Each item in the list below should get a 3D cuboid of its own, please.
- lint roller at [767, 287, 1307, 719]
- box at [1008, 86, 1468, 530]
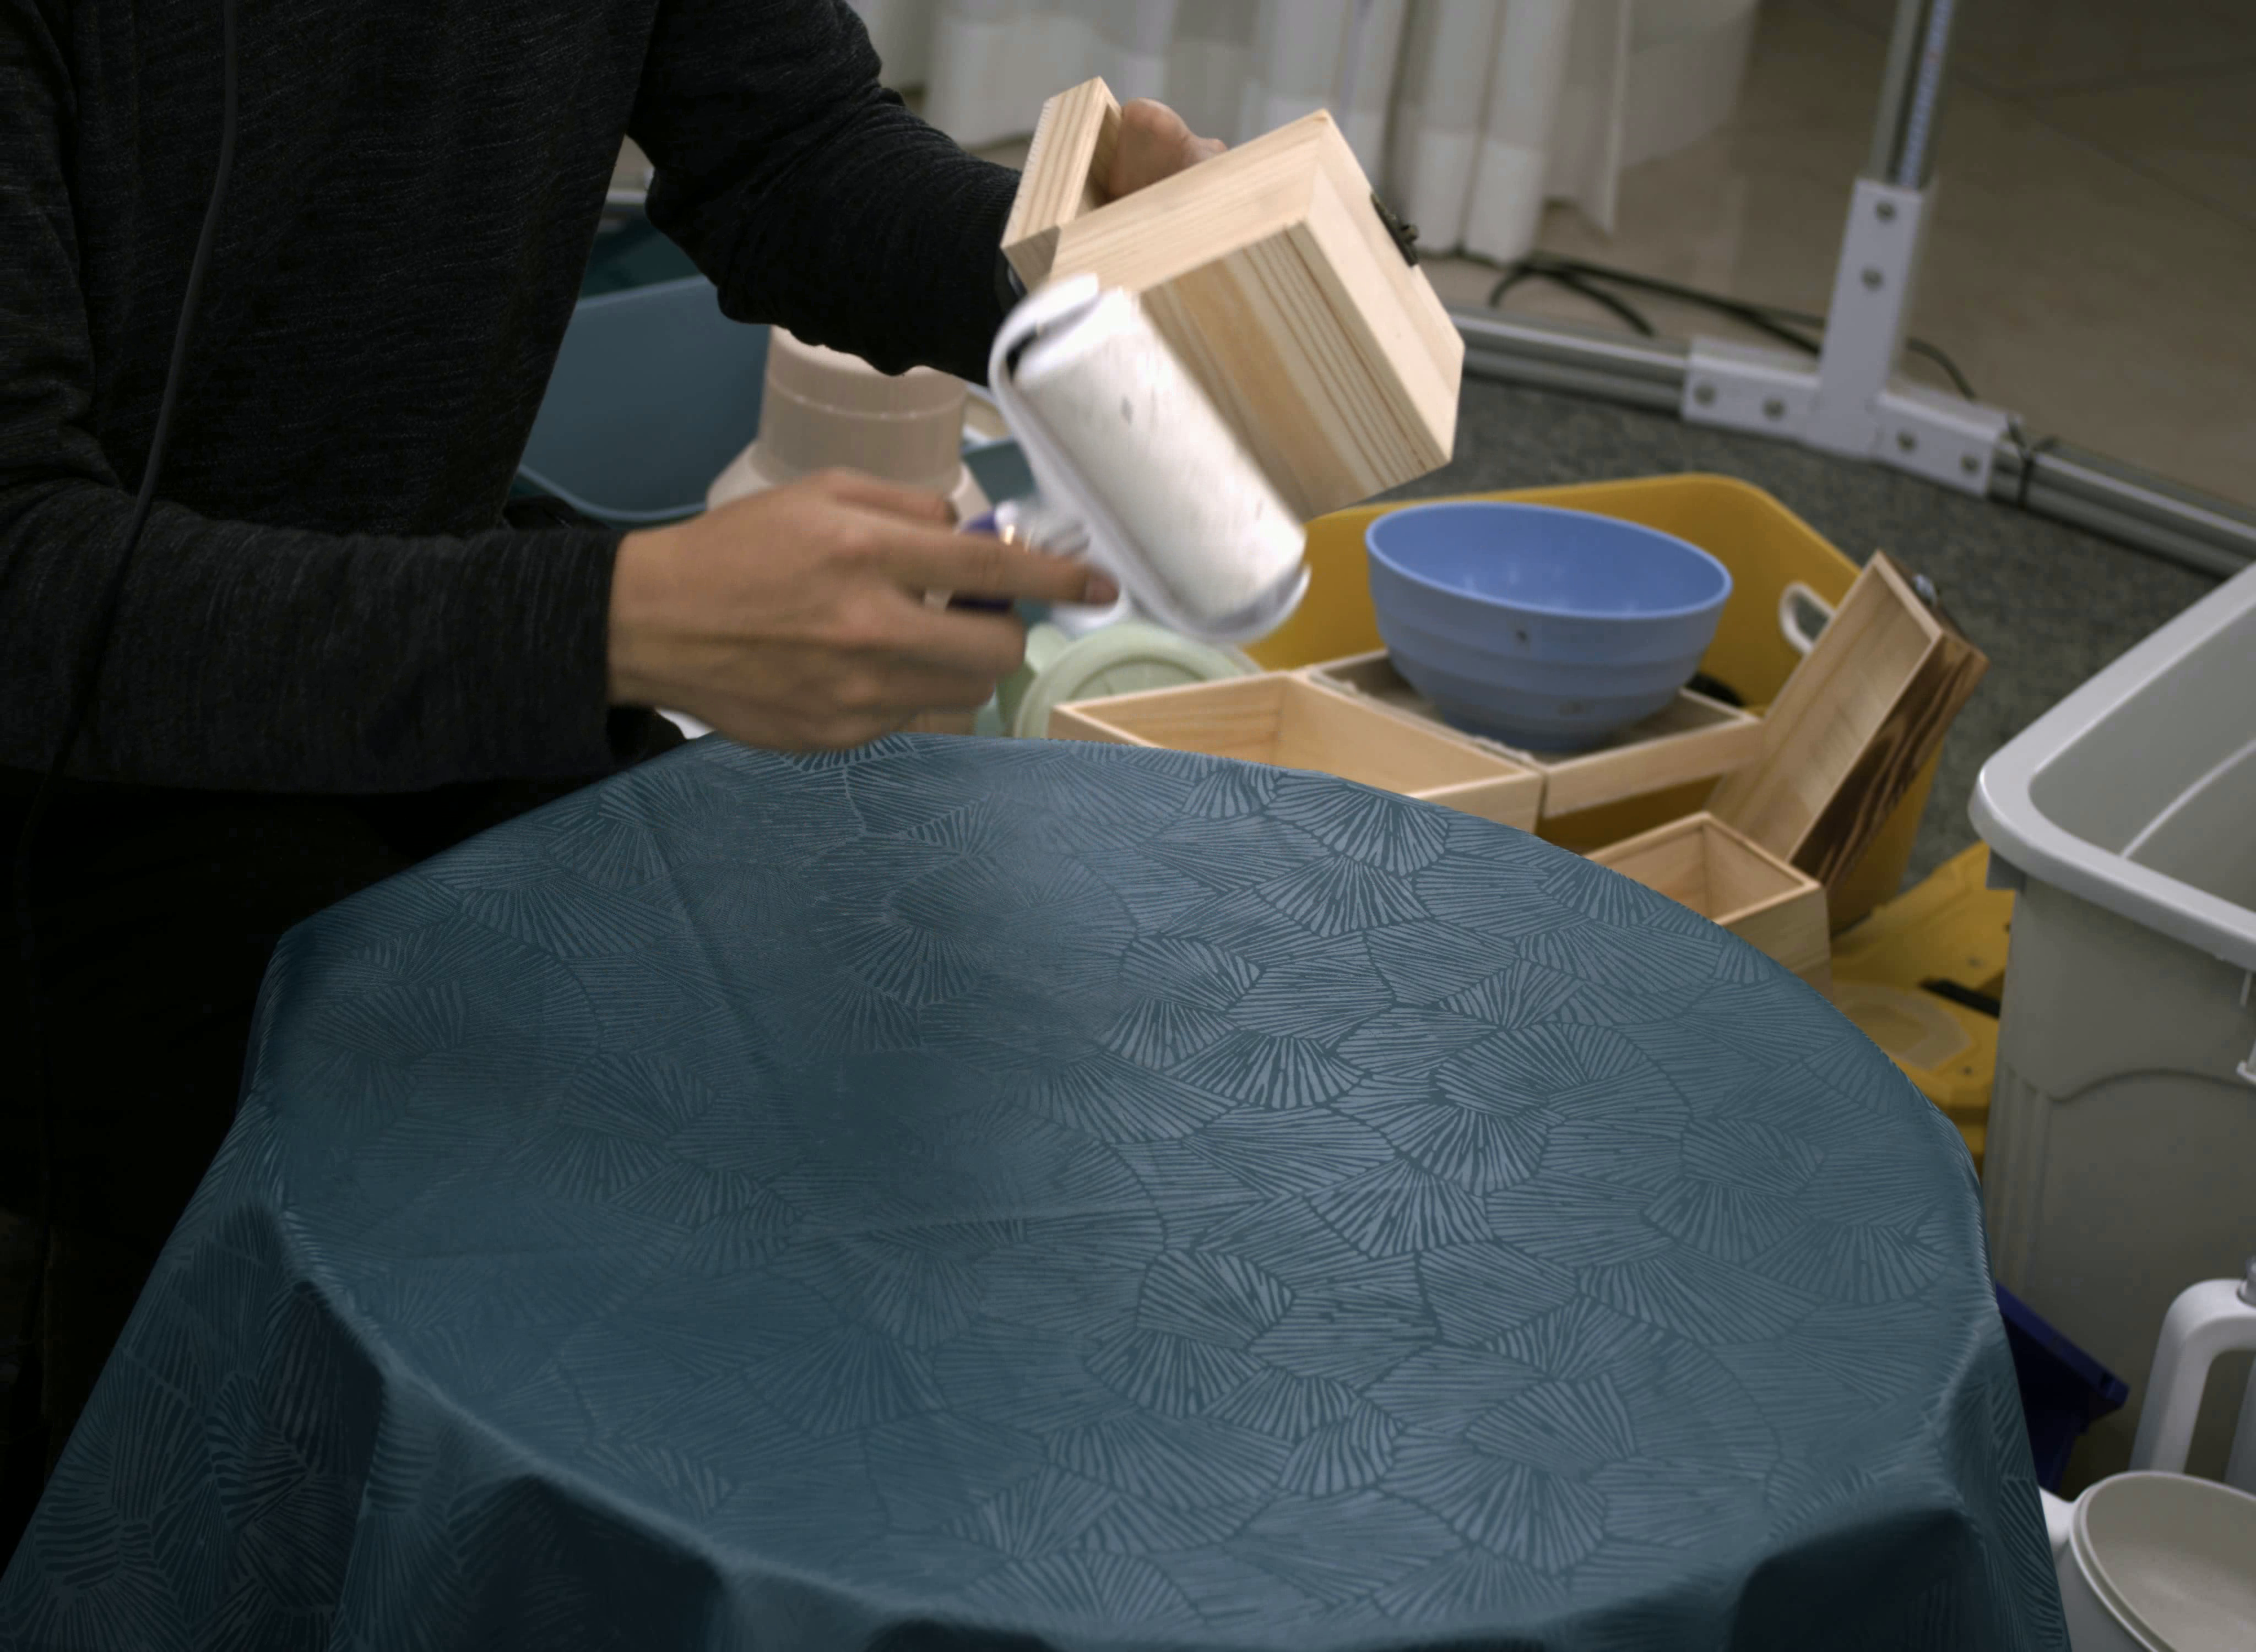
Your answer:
[{"bbox_3d":[-0.045,-0.082,1.712,0.181,0.132,0.050,-31,19,14],"label":"lint roller"},{"bbox_3d":[0.040,-0.188,1.806,0.134,0.102,0.185,-23,29,21],"label":"box"}]
